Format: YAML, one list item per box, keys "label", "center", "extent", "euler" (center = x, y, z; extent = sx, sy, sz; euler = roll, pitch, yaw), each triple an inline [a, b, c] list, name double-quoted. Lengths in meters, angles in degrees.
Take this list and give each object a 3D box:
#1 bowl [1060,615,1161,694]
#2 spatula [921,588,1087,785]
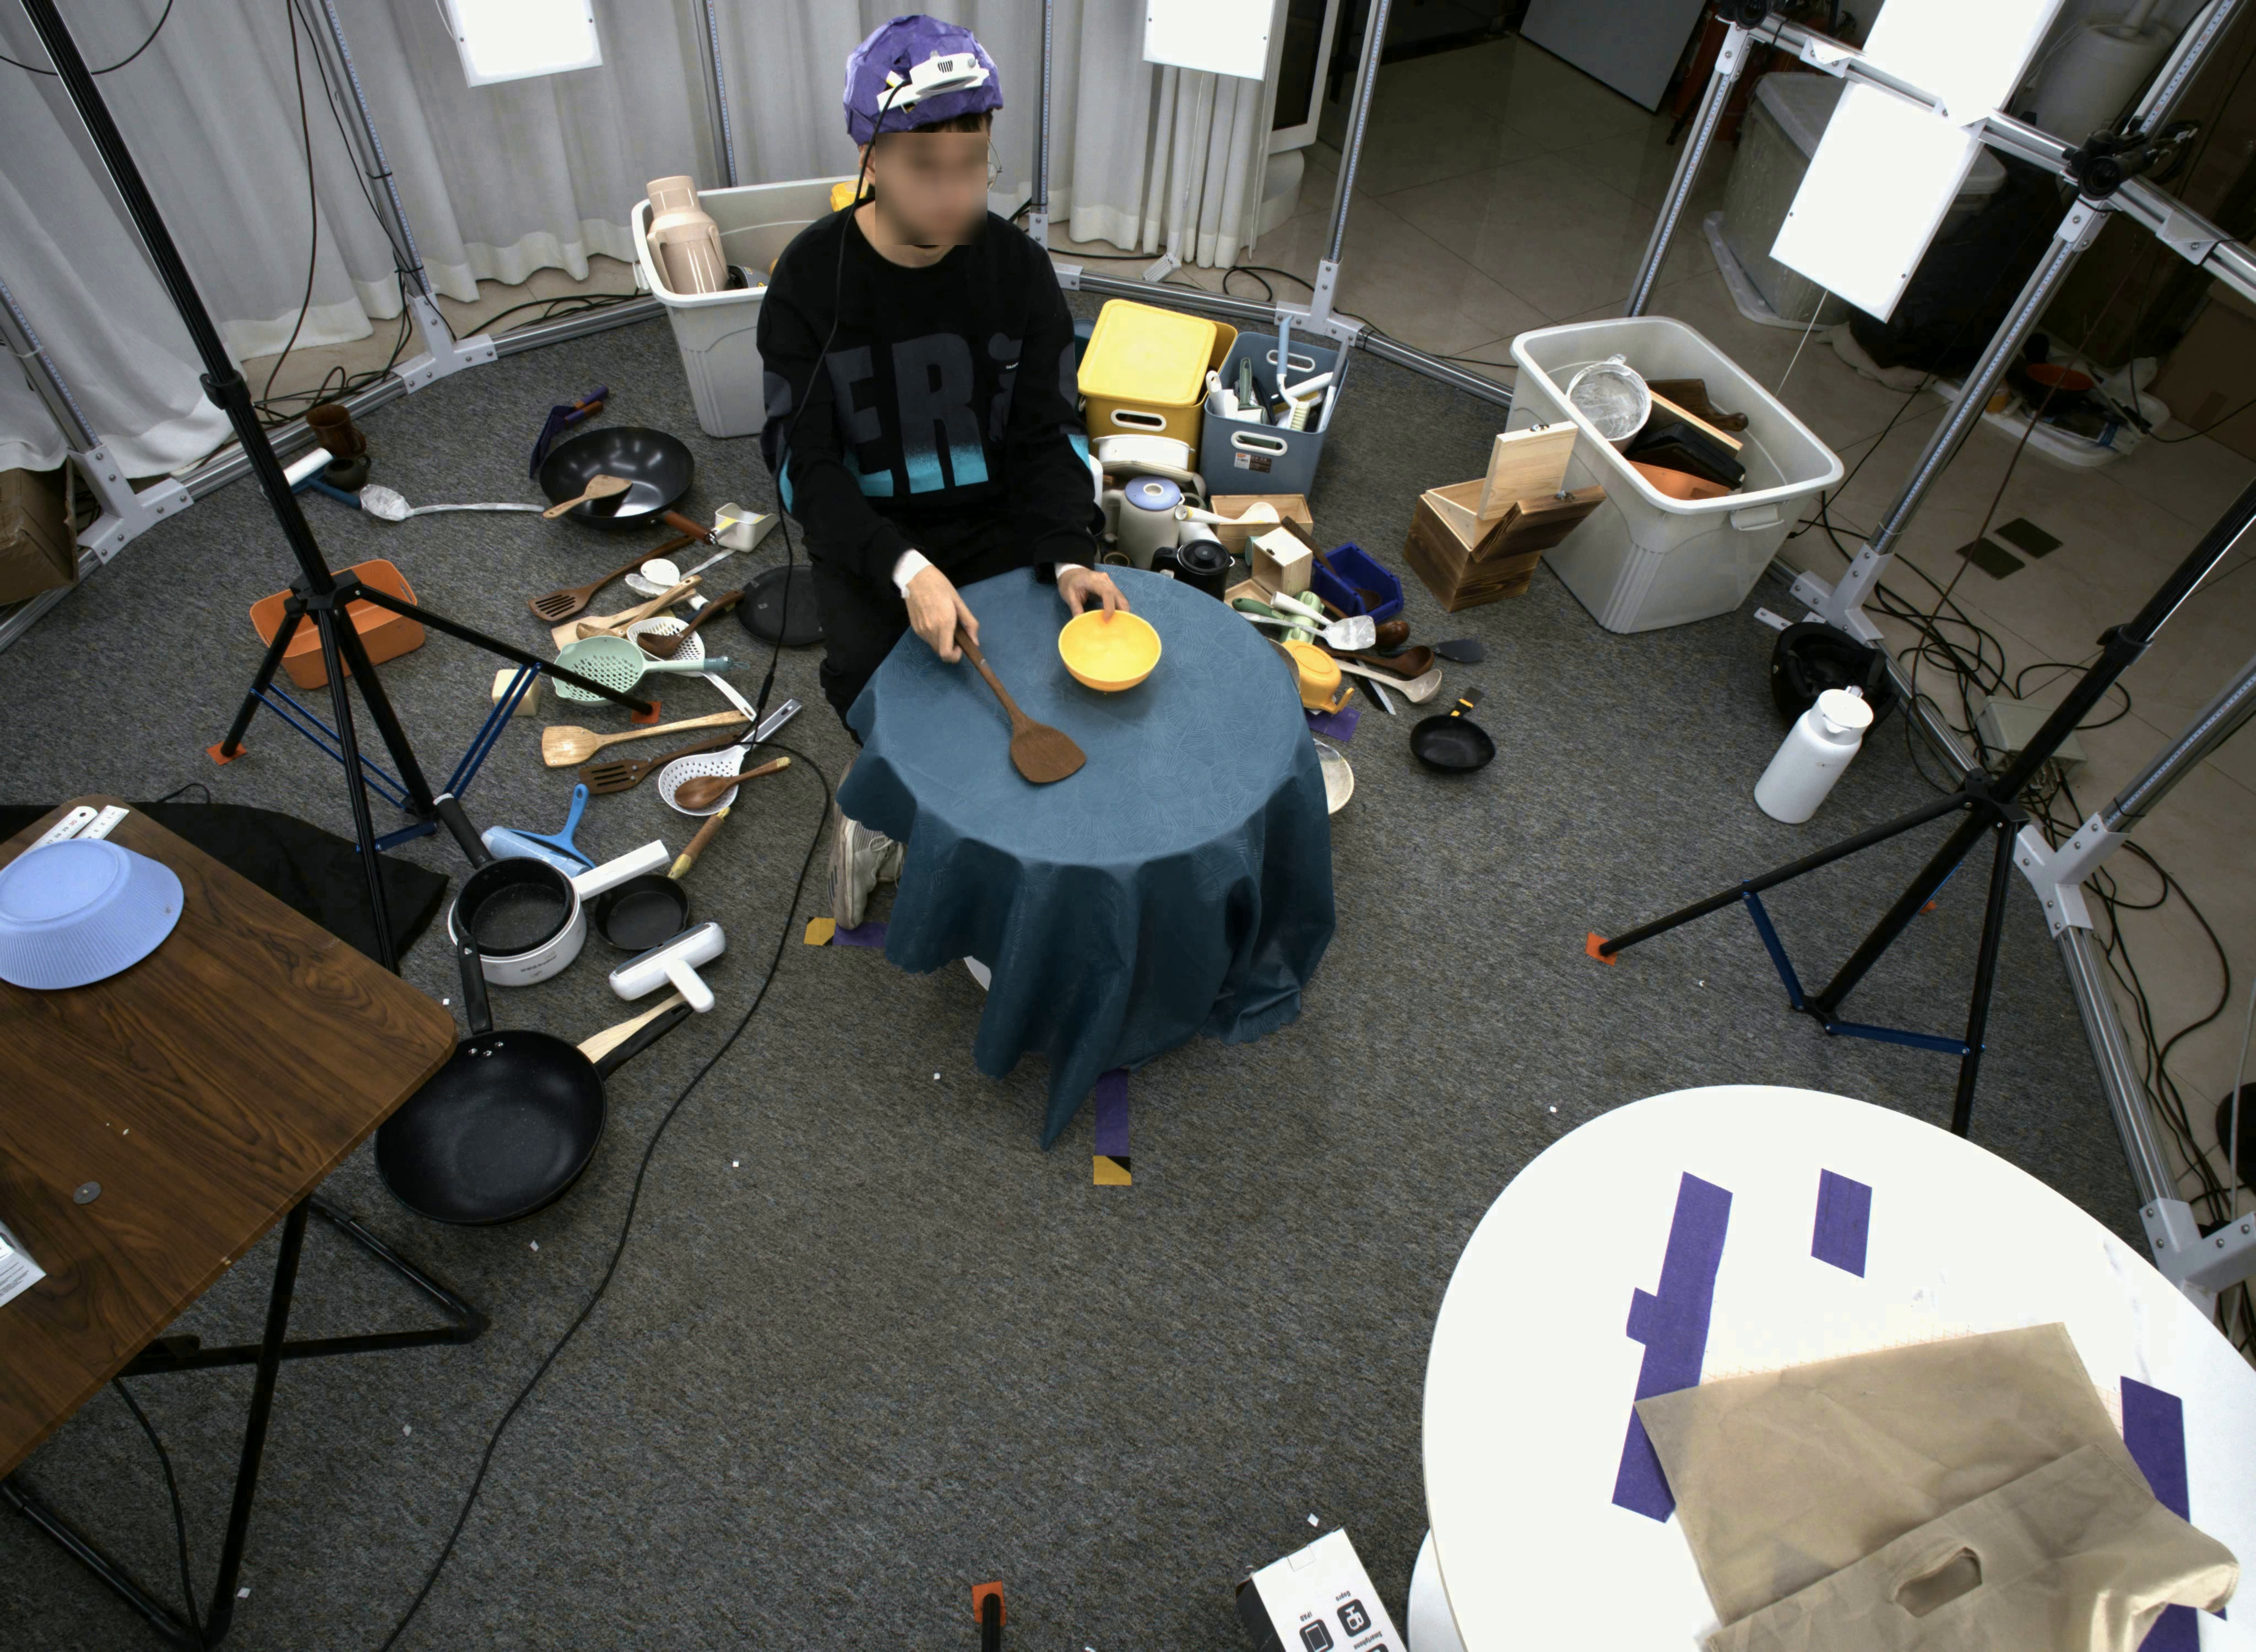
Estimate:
- label: "bowl"
  center: [-0.027, -0.236, 1.852]
  extent: [0.145, 0.058, 0.149]
  euler: [3, 48, -3]
- label: "spatula"
  center: [-0.191, -0.206, 1.812]
  extent: [0.096, 0.015, 0.392]
  euler: [-24, 63, -26]
